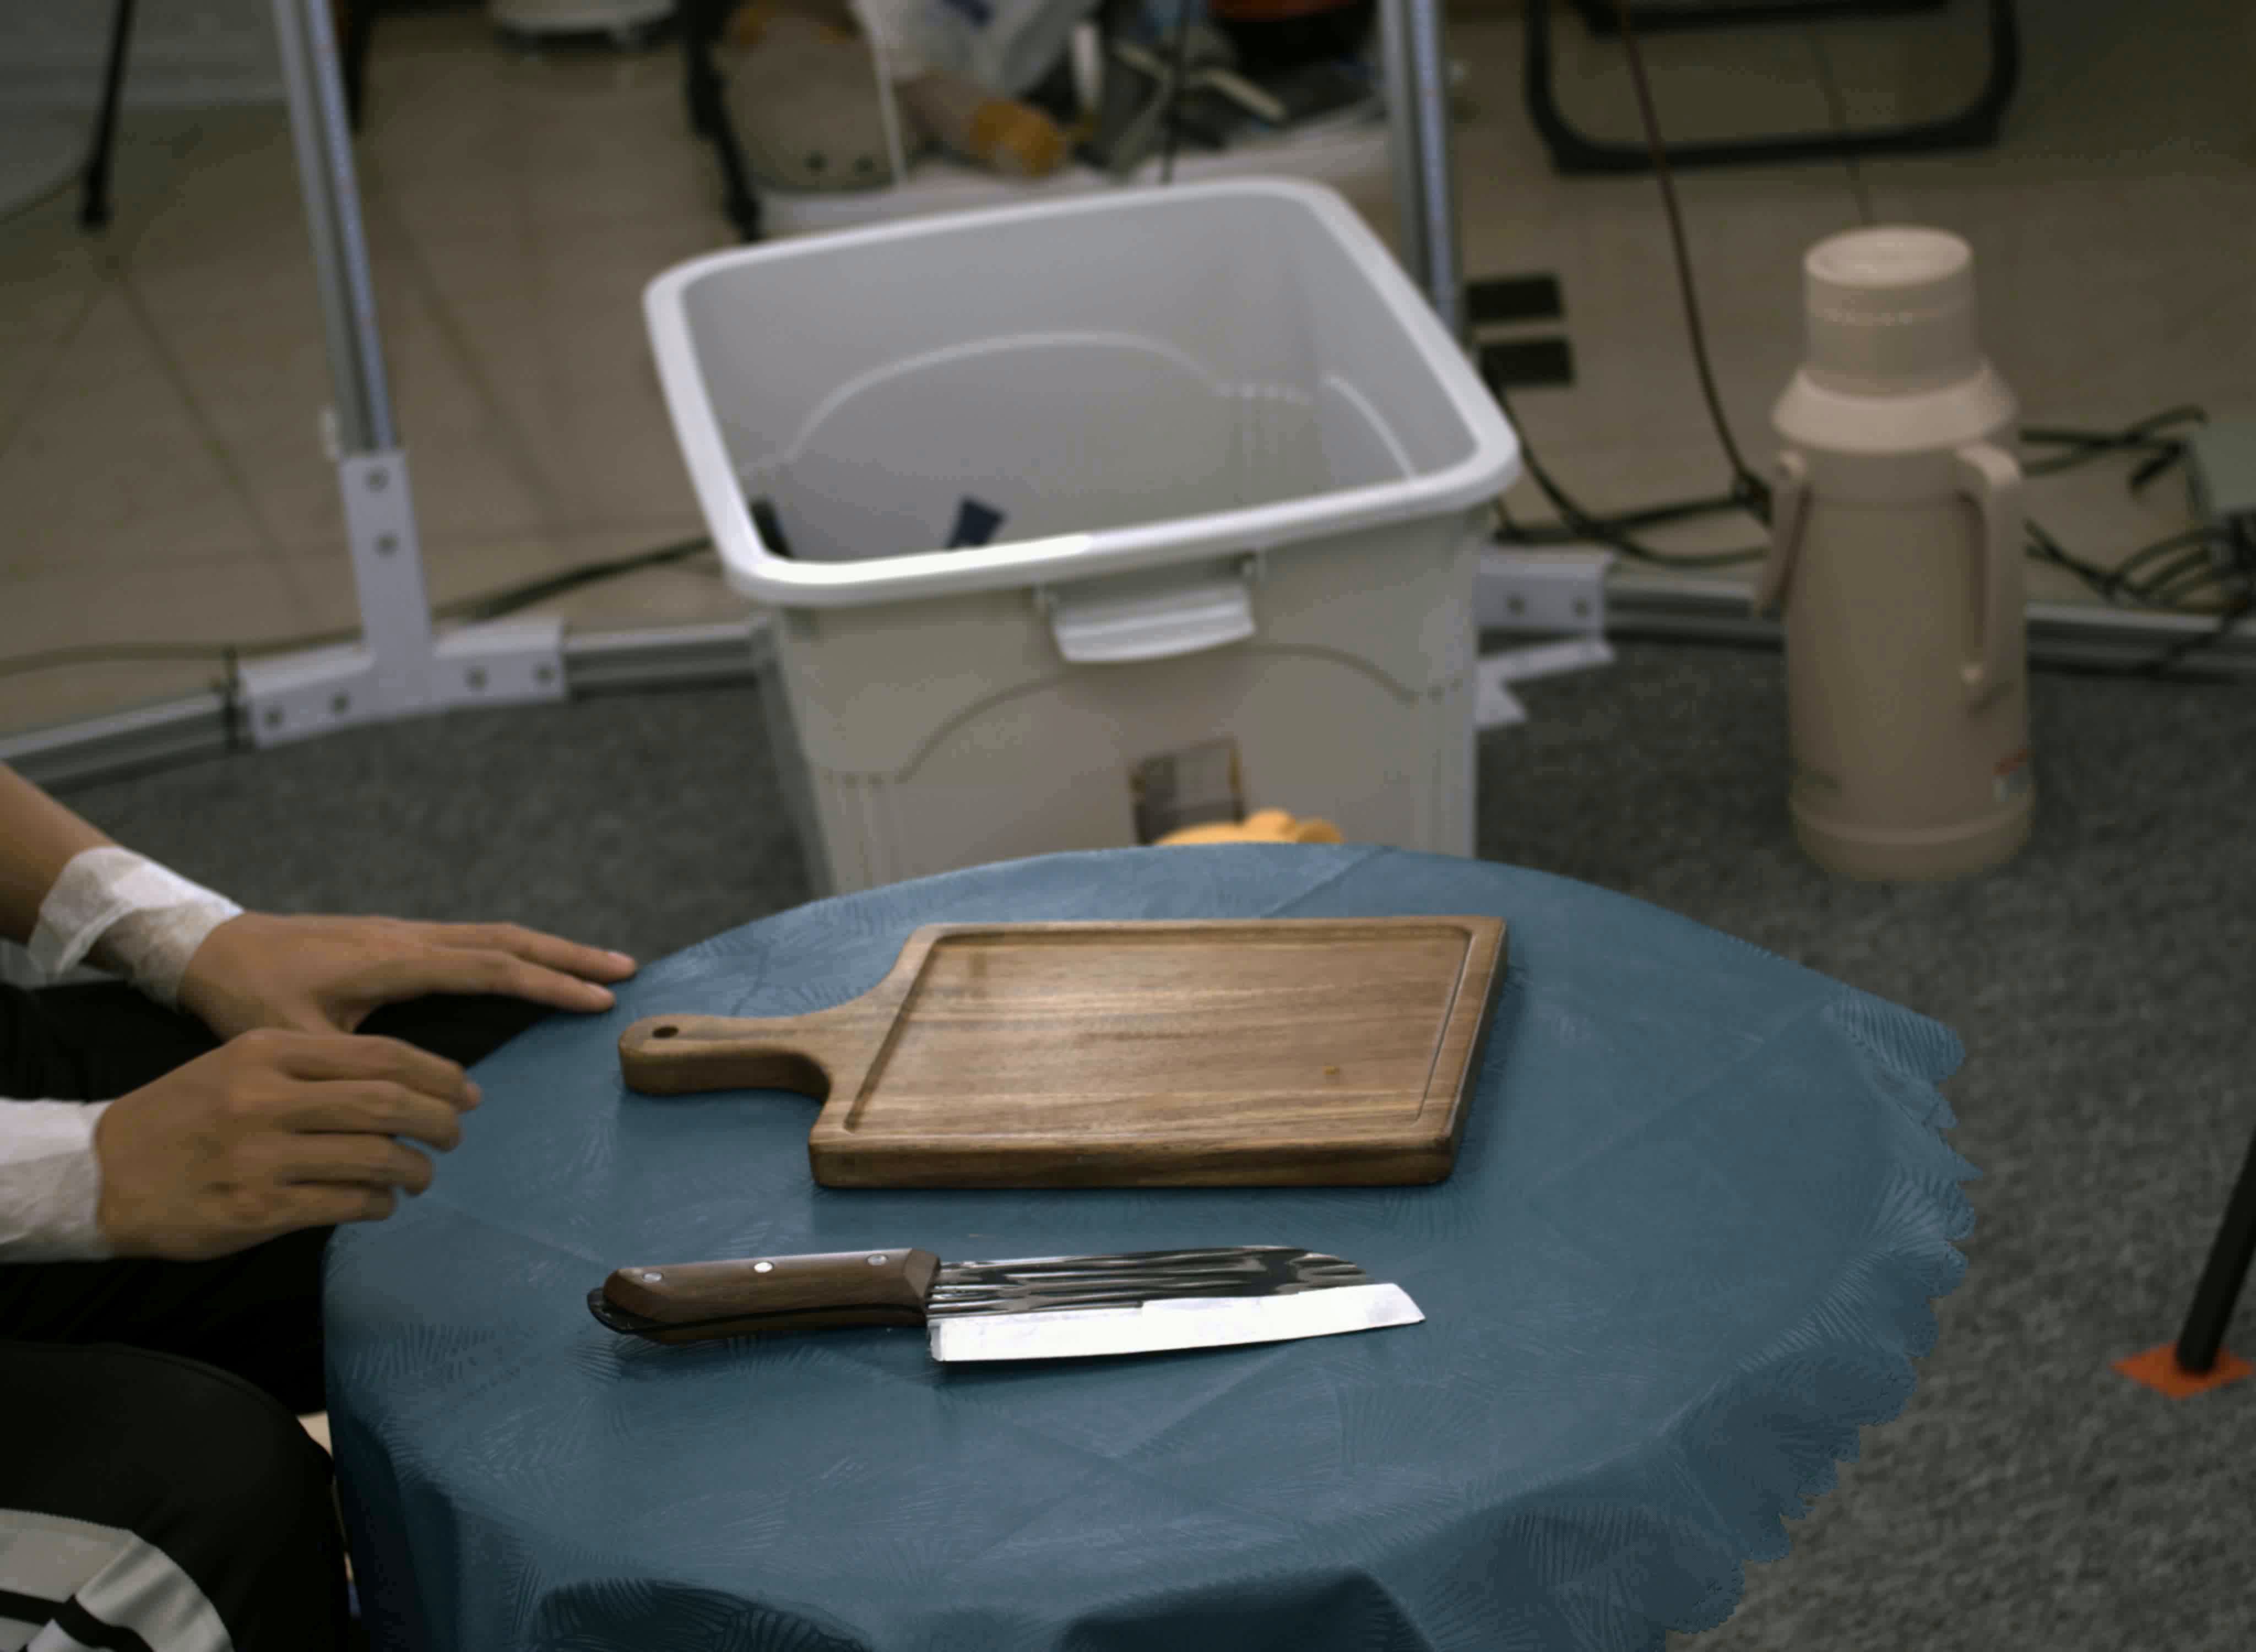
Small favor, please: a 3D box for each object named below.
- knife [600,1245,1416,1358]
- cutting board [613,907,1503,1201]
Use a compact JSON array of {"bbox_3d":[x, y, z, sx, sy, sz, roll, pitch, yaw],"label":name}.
[{"bbox_3d":[-0.045,0.174,2.064,0.299,0.024,0.067,-3,27,2],"label":"knife"},{"bbox_3d":[-0.033,0.090,2.246,0.351,0.023,0.198,-2,27,12],"label":"cutting board"}]
